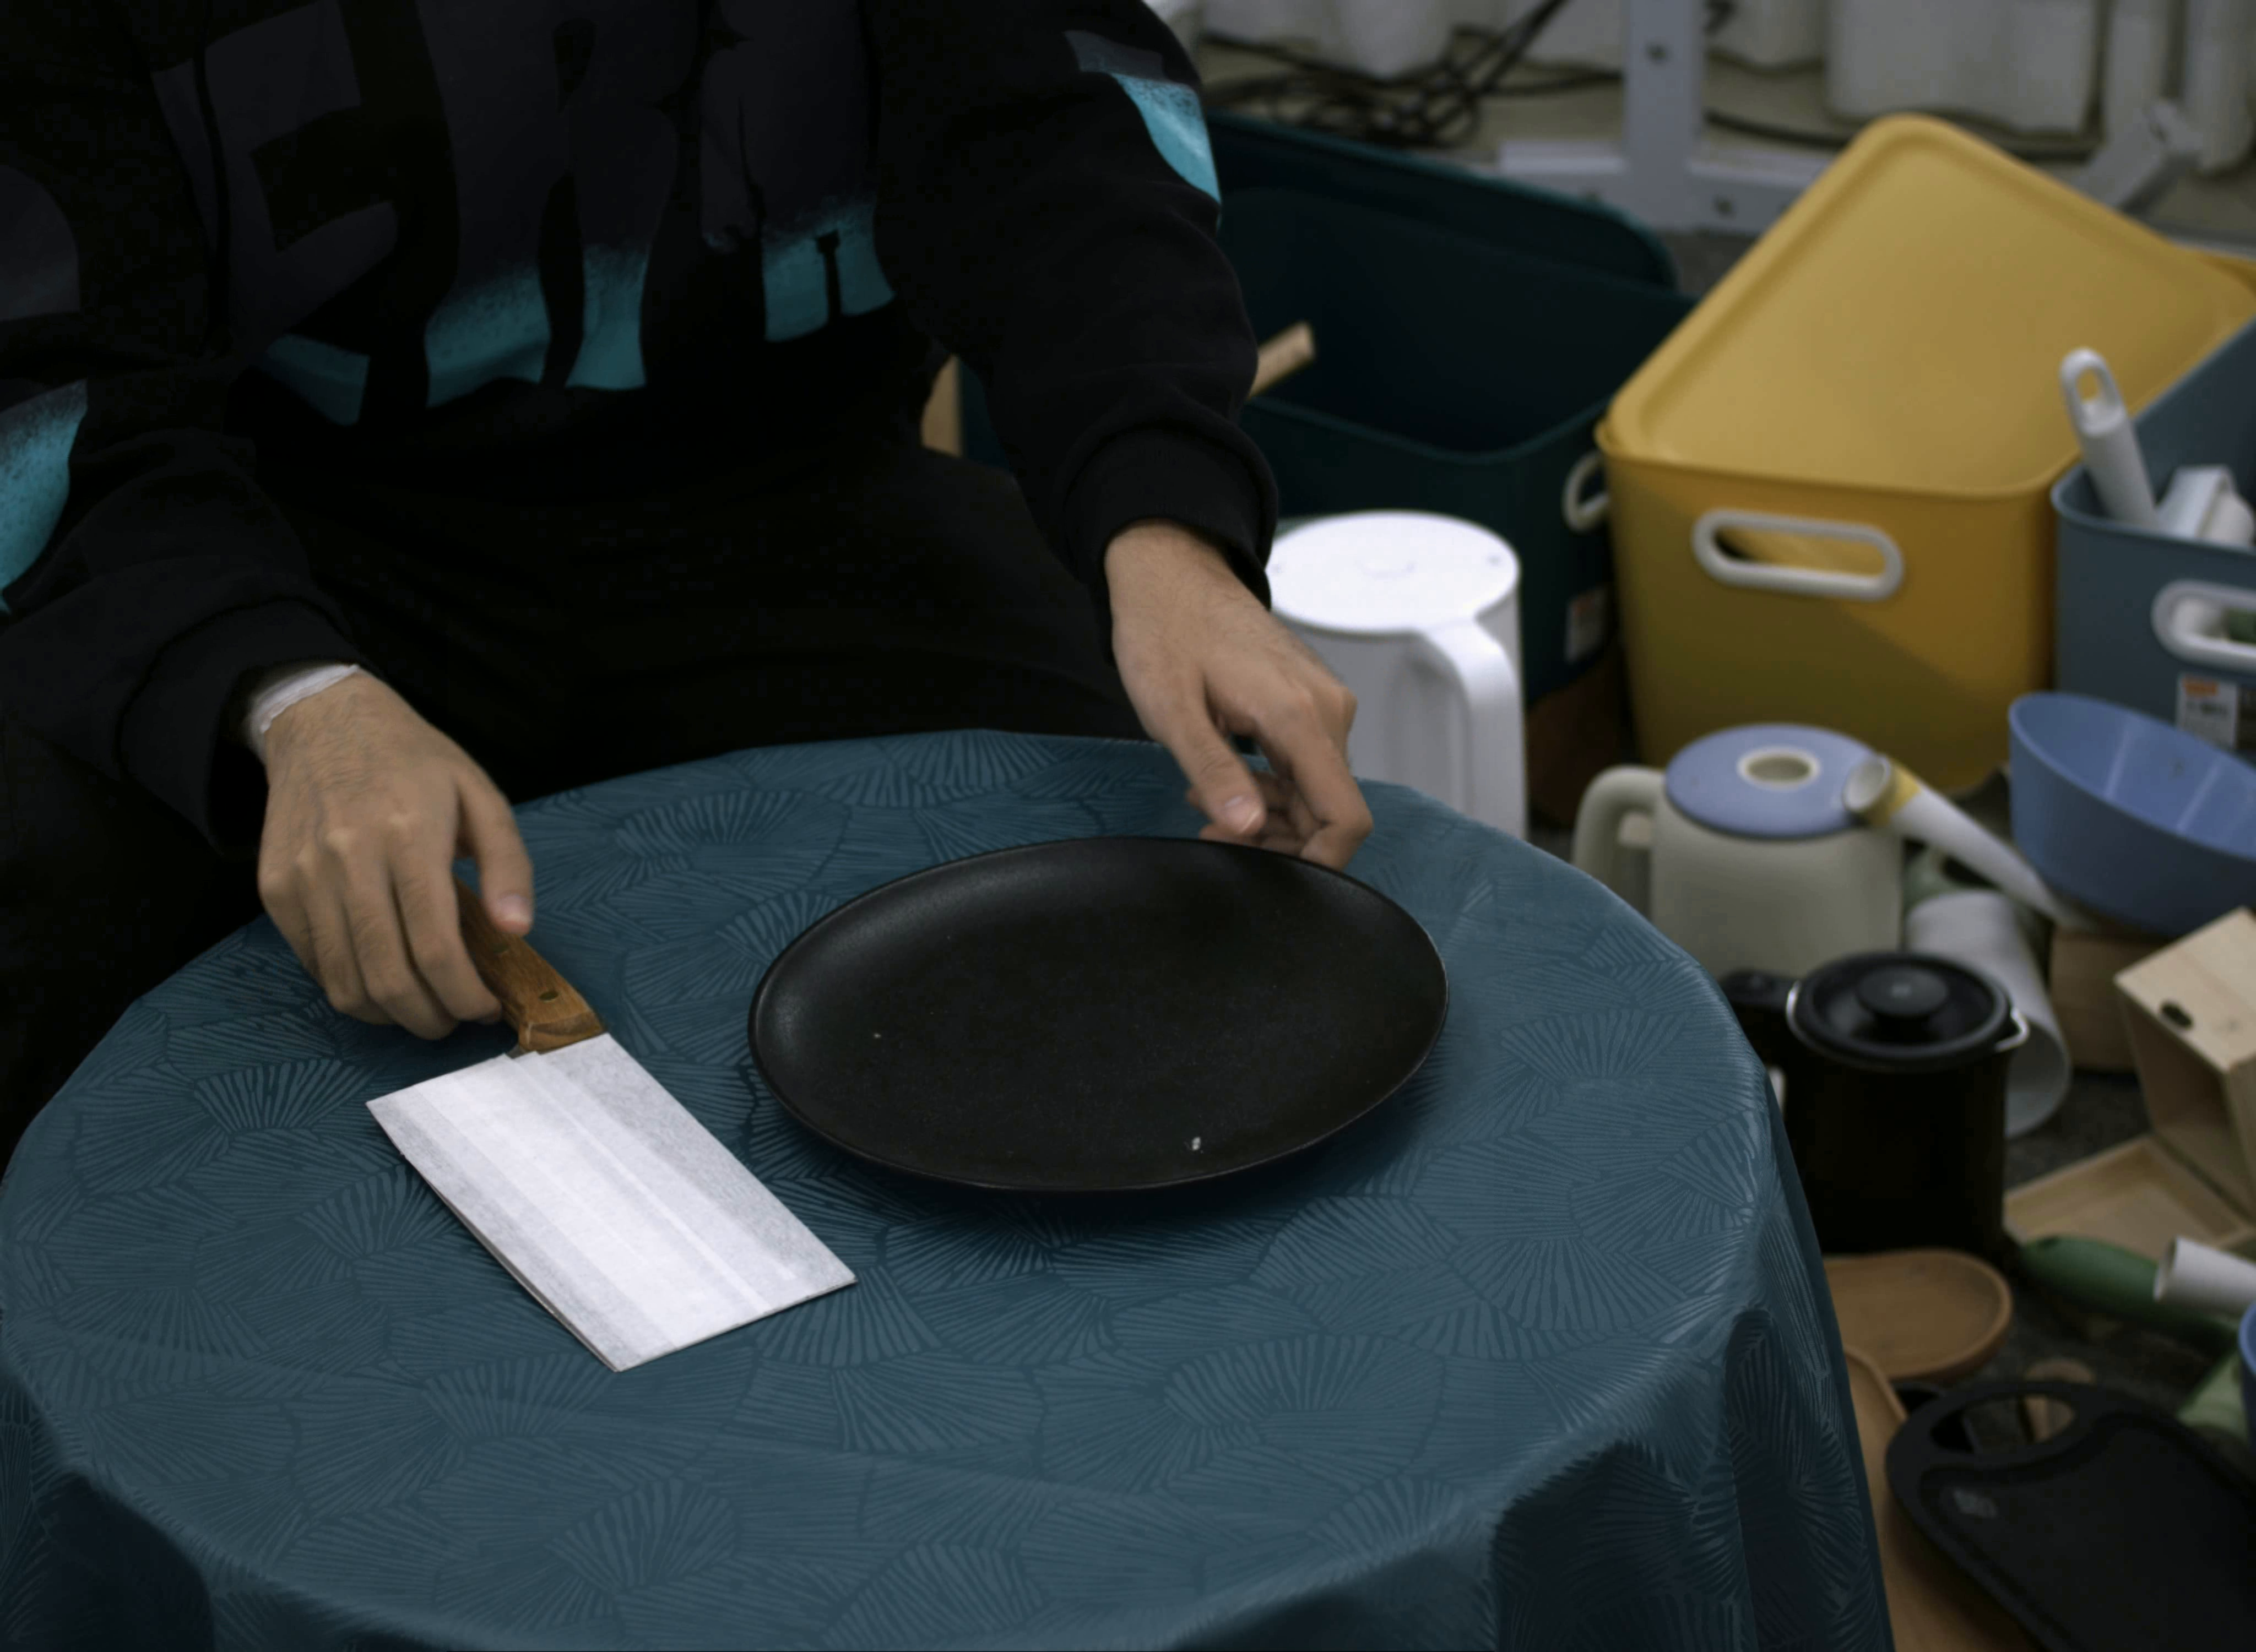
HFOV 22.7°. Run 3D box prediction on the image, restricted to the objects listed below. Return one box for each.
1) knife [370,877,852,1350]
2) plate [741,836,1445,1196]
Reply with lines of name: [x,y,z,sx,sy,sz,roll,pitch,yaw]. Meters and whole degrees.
knife: [-0.203,0.098,1.912,0.093,0.021,0.307,-19,34,-26]
plate: [-0.012,0.070,1.937,0.243,0.023,0.248,-2,28,2]
